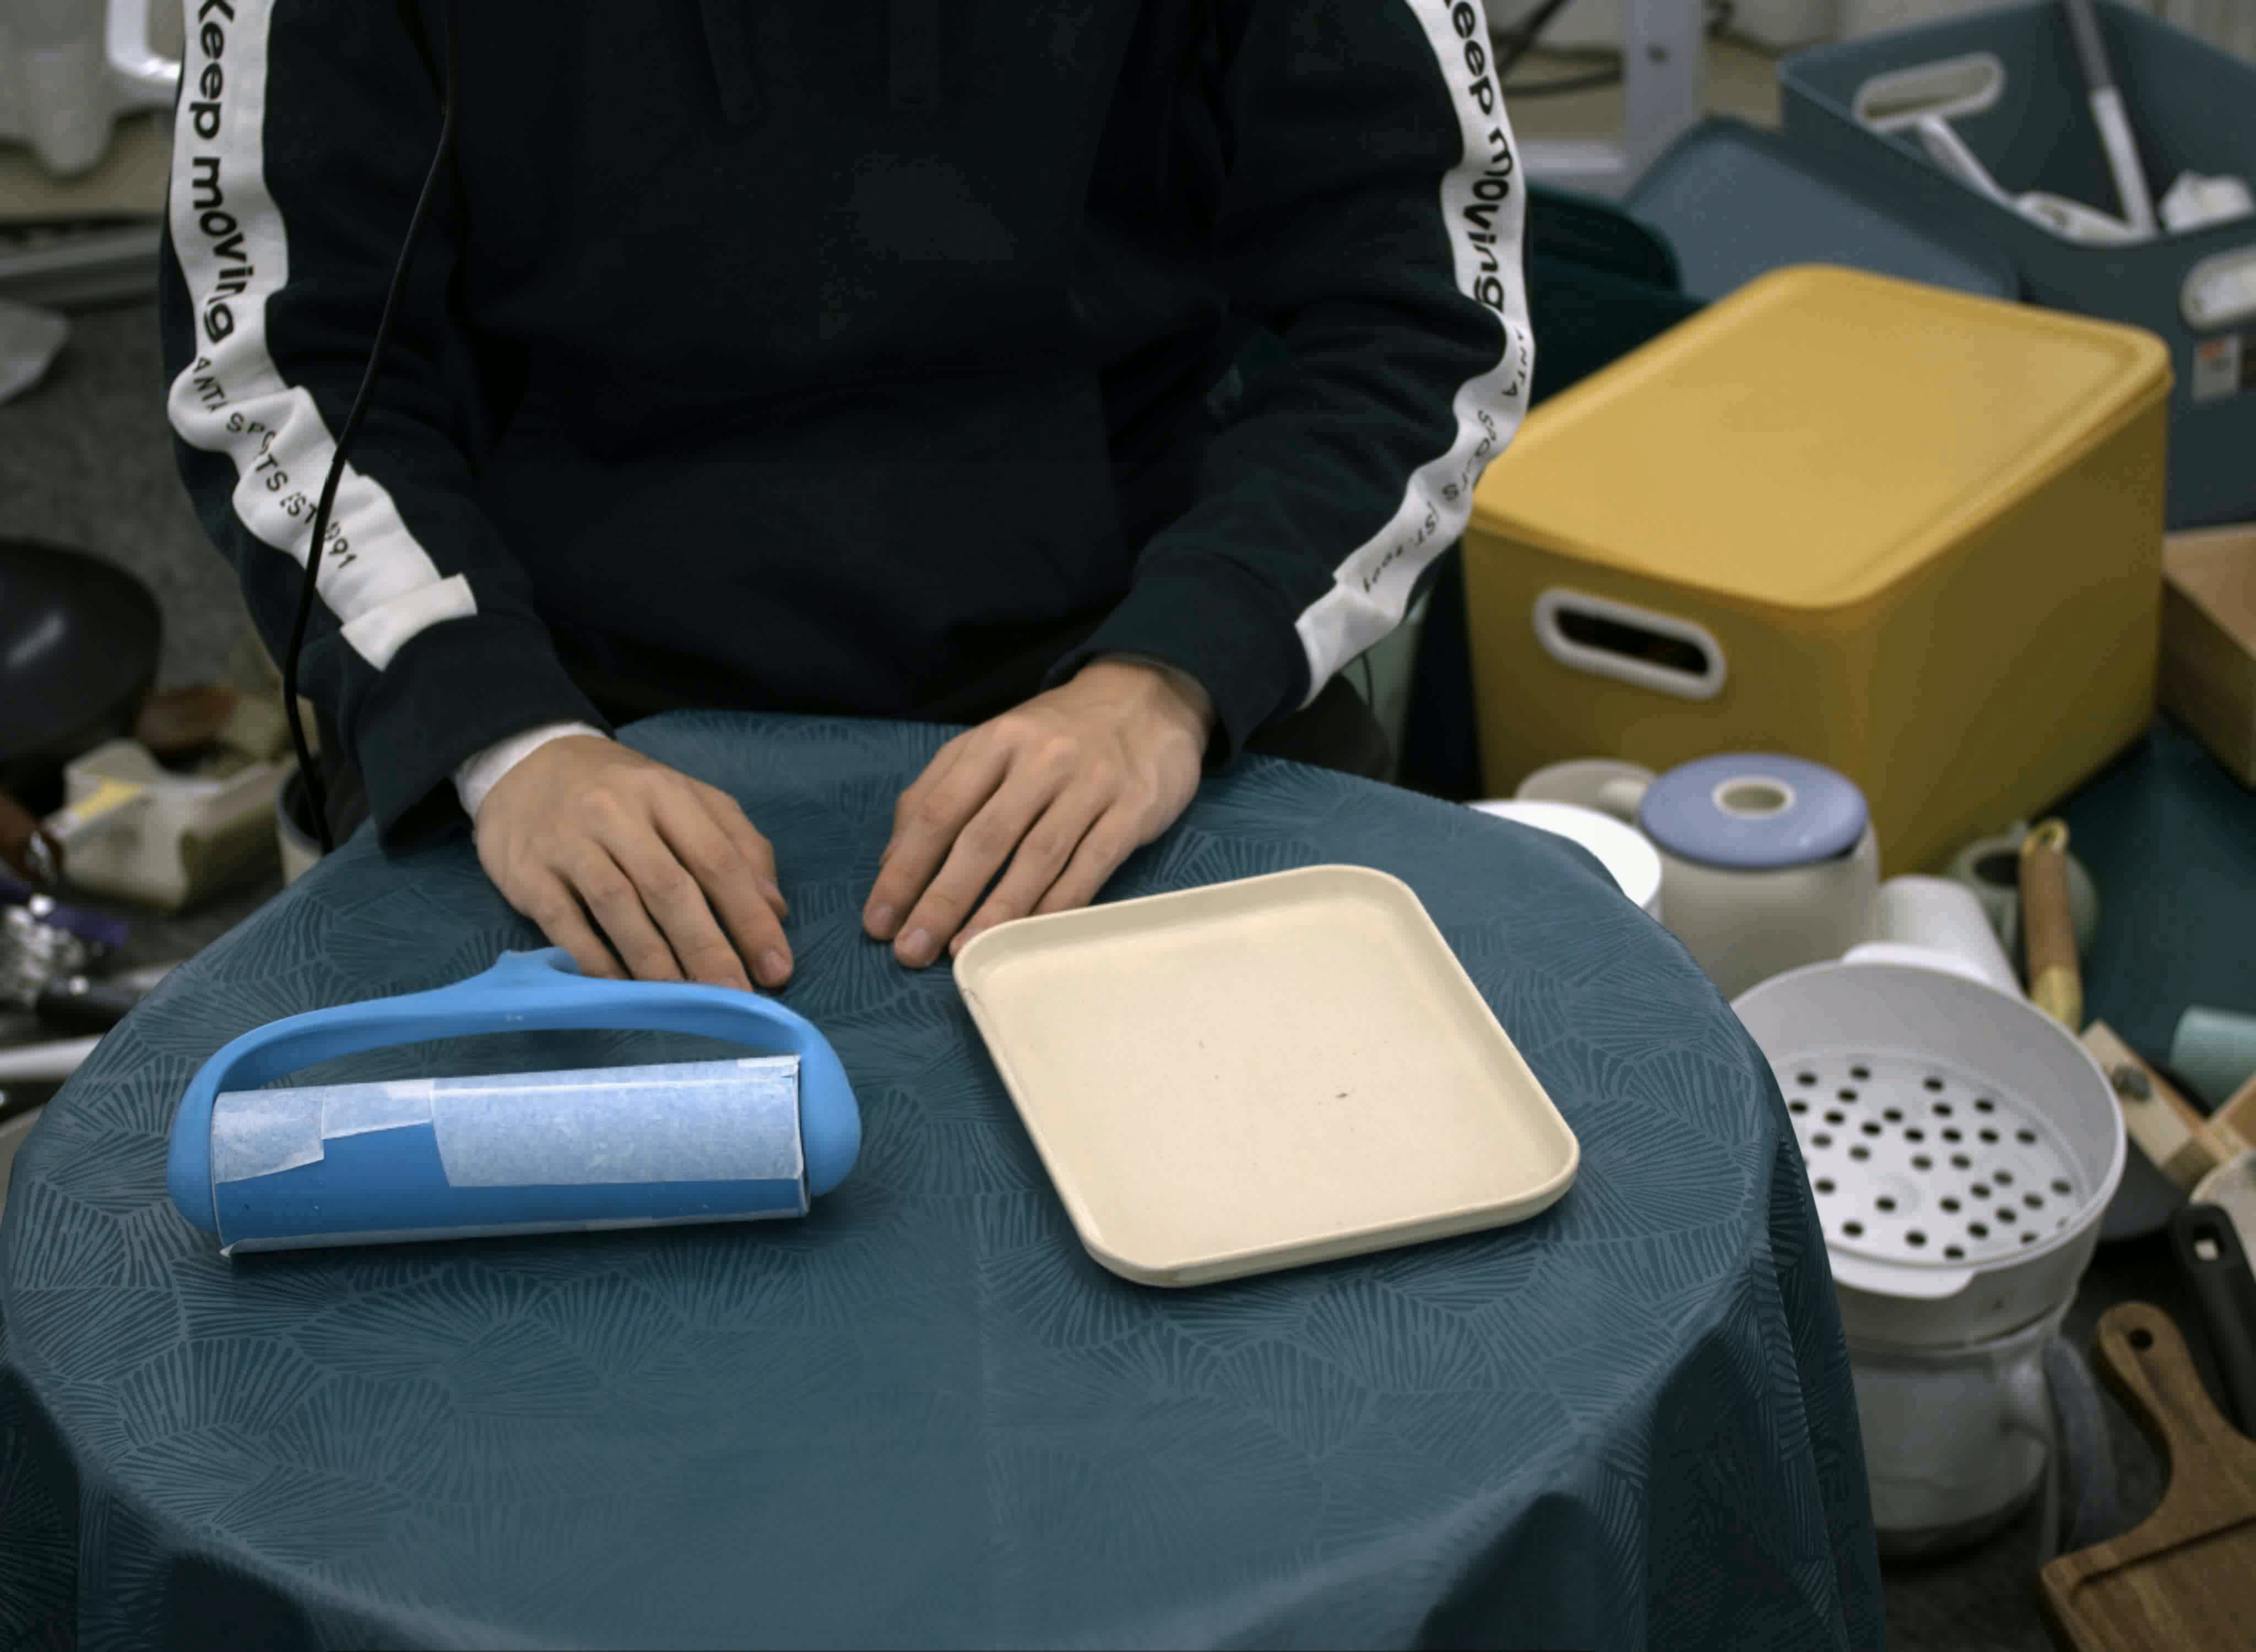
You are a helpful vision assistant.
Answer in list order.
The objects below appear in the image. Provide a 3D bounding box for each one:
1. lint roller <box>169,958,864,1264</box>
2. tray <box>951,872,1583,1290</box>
[{"bbox_3d":[-0.206,0.080,1.898,0.228,0.067,0.183,-6,29,-3],"label":"lint roller"},{"bbox_3d":[0.043,0.085,1.907,0.171,0.017,0.242,-9,28,-12],"label":"tray"}]
